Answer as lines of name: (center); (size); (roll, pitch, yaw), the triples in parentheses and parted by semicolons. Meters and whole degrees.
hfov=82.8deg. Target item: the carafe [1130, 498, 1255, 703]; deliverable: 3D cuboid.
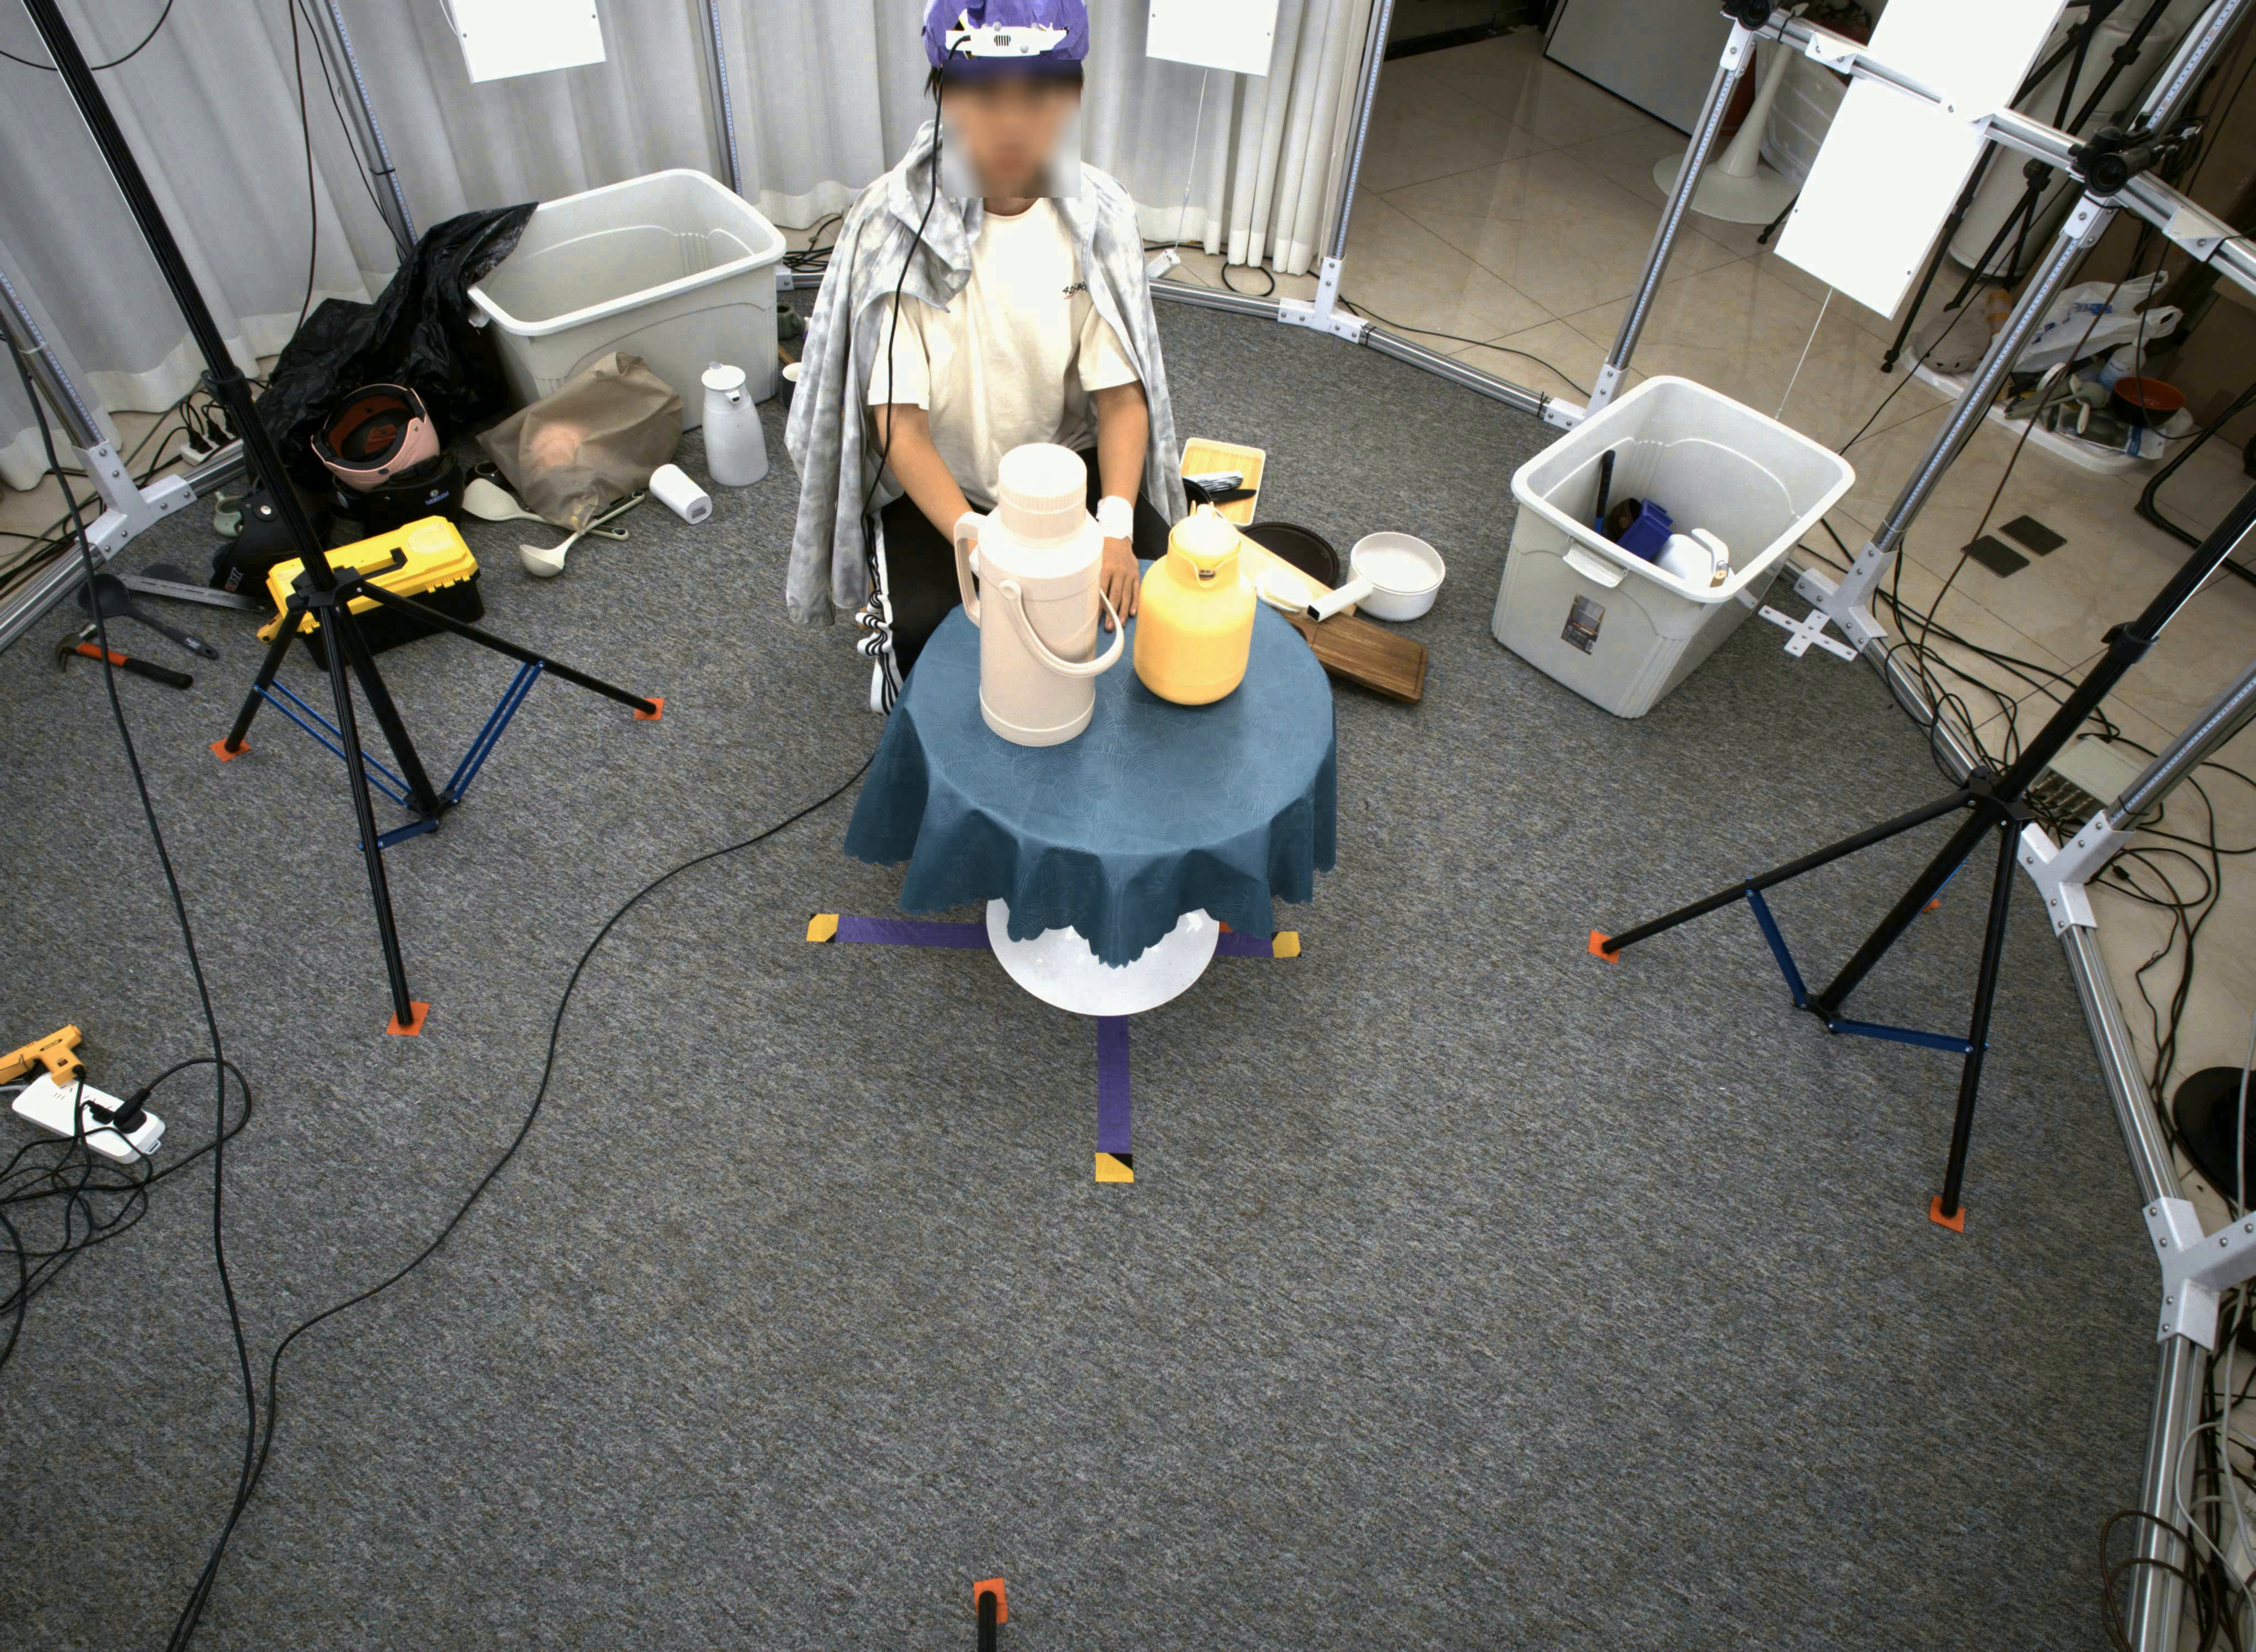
carafe: (0.094, -0.318, 1.775); (0.163, 0.254, 0.207); (6, 50, -3)

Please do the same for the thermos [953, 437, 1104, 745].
thermos: (-0.127, -0.303, 1.659); (0.208, 0.396, 0.178); (21, 52, 13)
